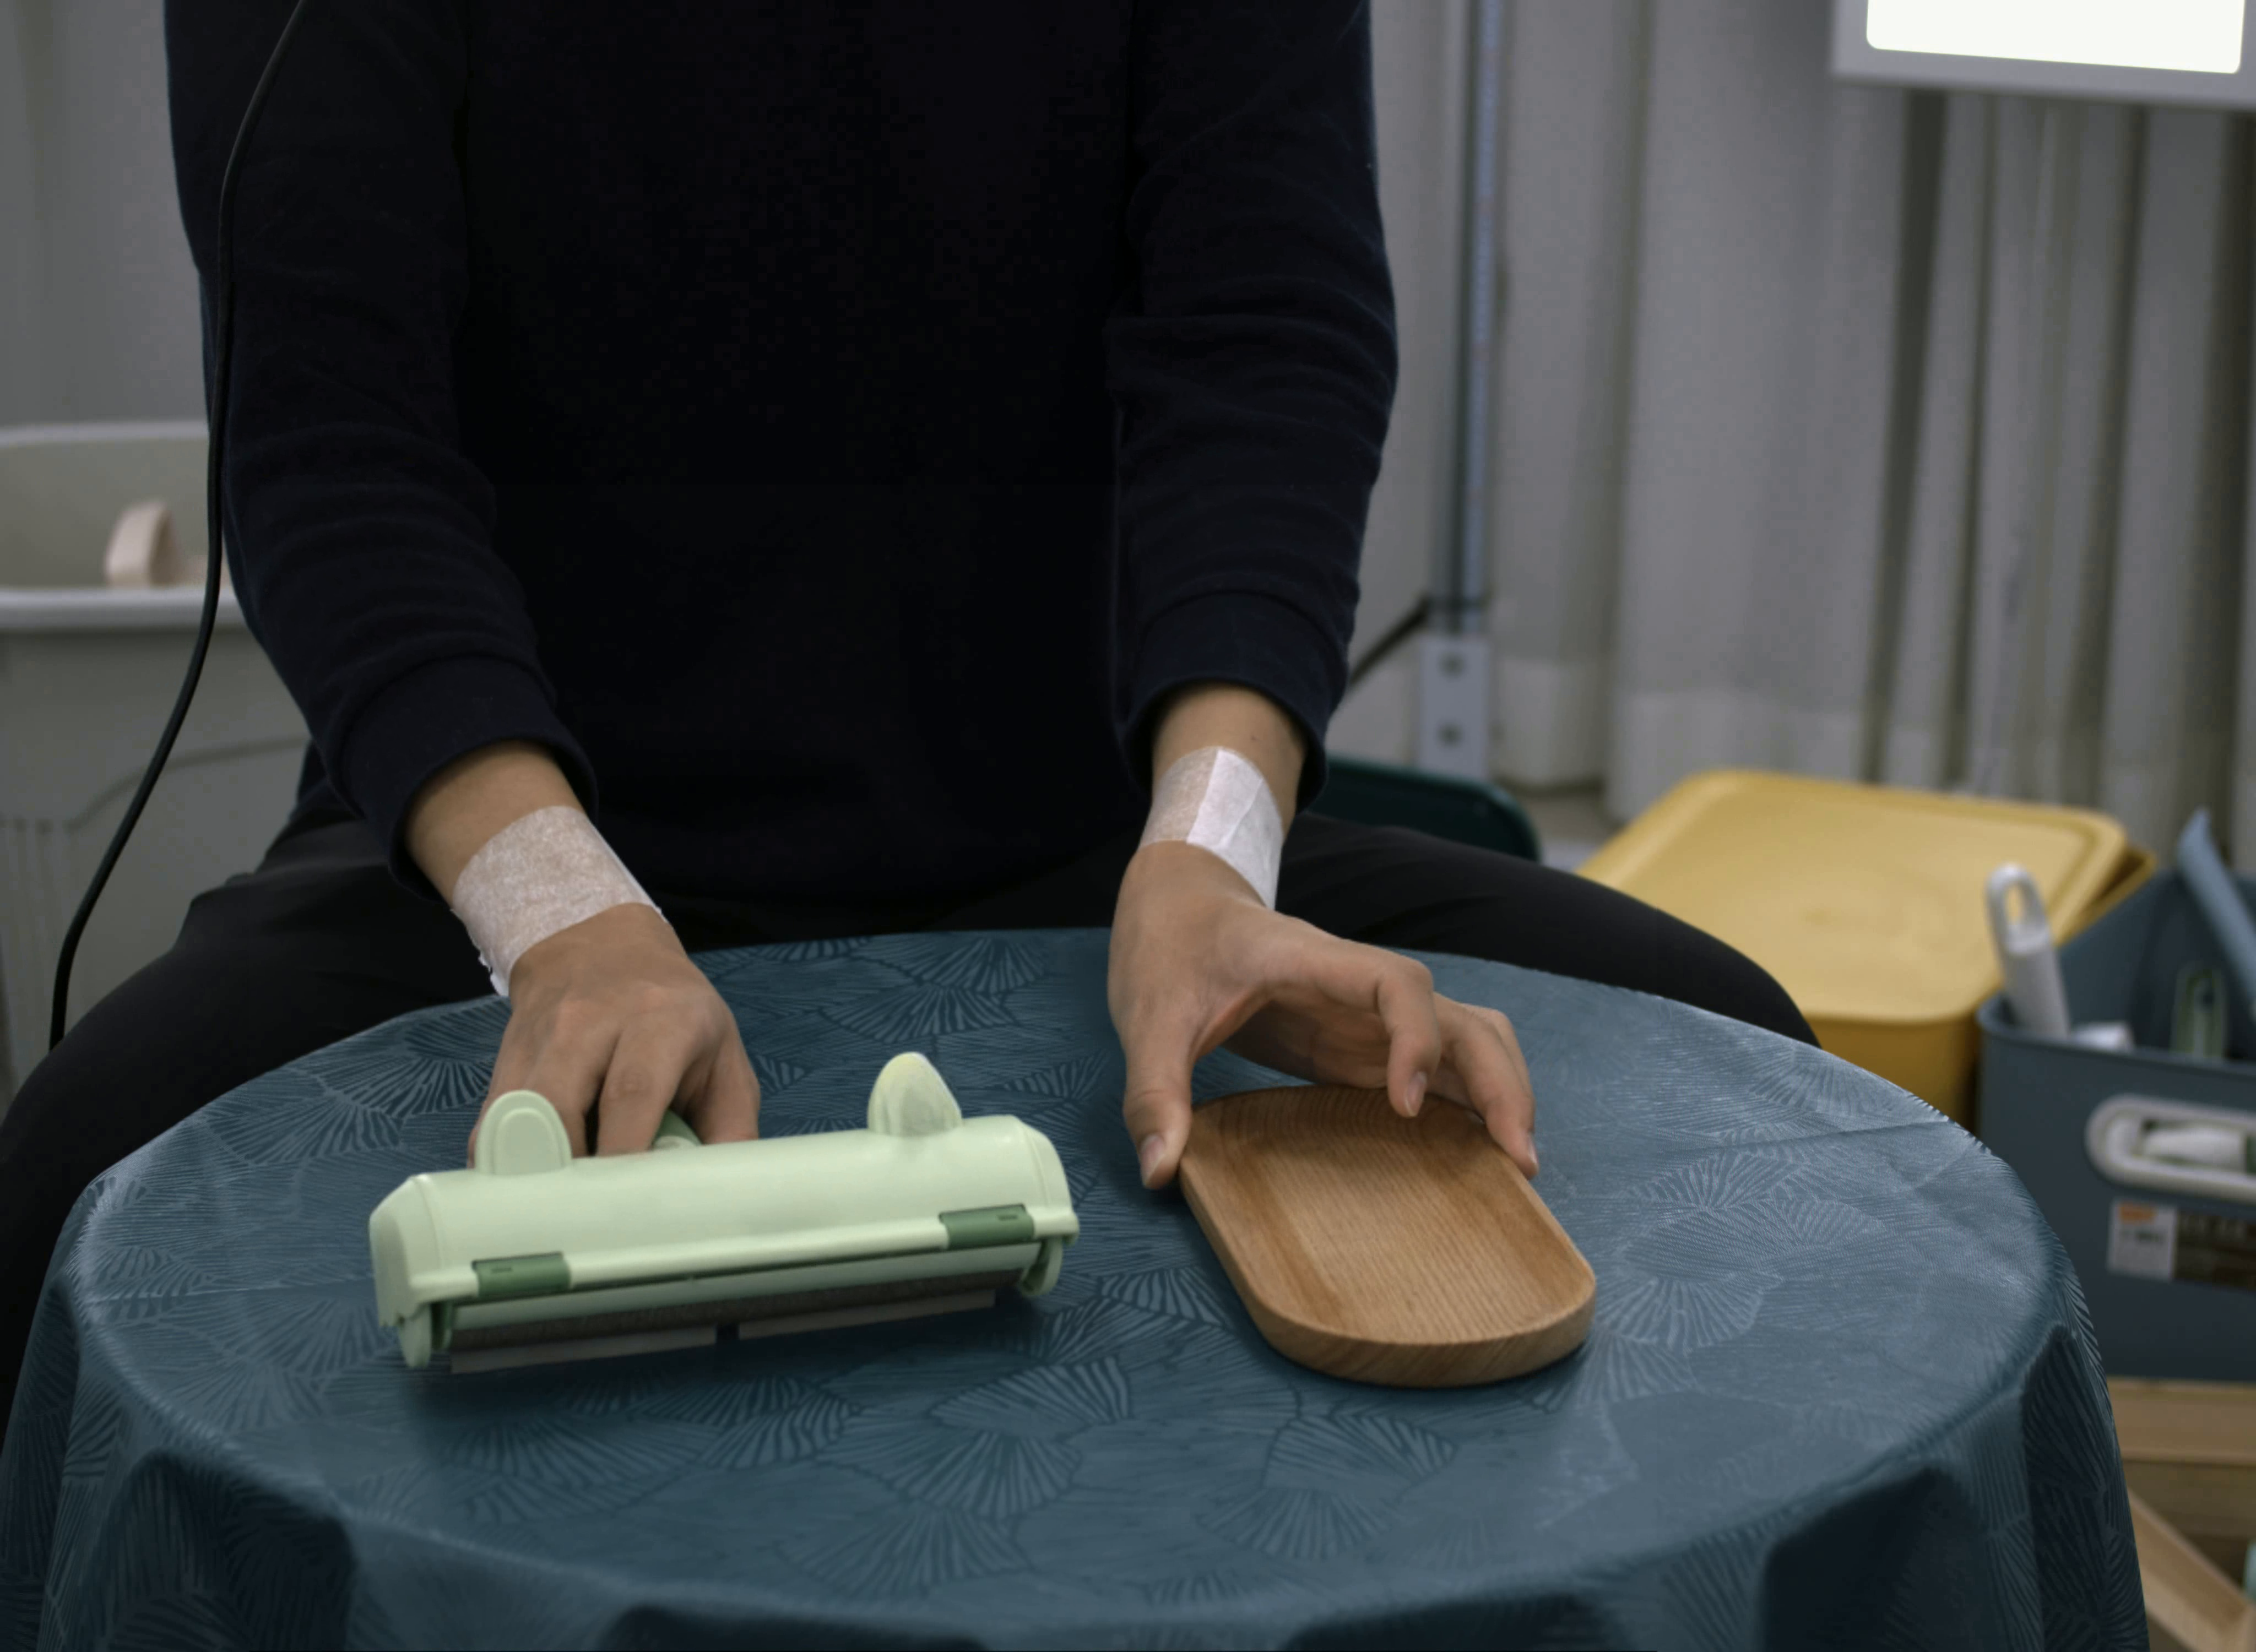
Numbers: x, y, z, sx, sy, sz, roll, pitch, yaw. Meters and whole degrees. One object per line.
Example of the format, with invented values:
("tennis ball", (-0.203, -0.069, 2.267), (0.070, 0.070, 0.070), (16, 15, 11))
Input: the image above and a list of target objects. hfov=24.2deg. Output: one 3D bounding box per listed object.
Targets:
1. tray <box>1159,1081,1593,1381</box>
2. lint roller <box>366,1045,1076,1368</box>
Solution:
("tray", (0.071, 0.118, 1.573), (0.101, 0.020, 0.229), (-2, 14, -10))
("lint roller", (-0.134, 0.088, 1.534), (0.199, 0.083, 0.181), (-5, 25, -21))
